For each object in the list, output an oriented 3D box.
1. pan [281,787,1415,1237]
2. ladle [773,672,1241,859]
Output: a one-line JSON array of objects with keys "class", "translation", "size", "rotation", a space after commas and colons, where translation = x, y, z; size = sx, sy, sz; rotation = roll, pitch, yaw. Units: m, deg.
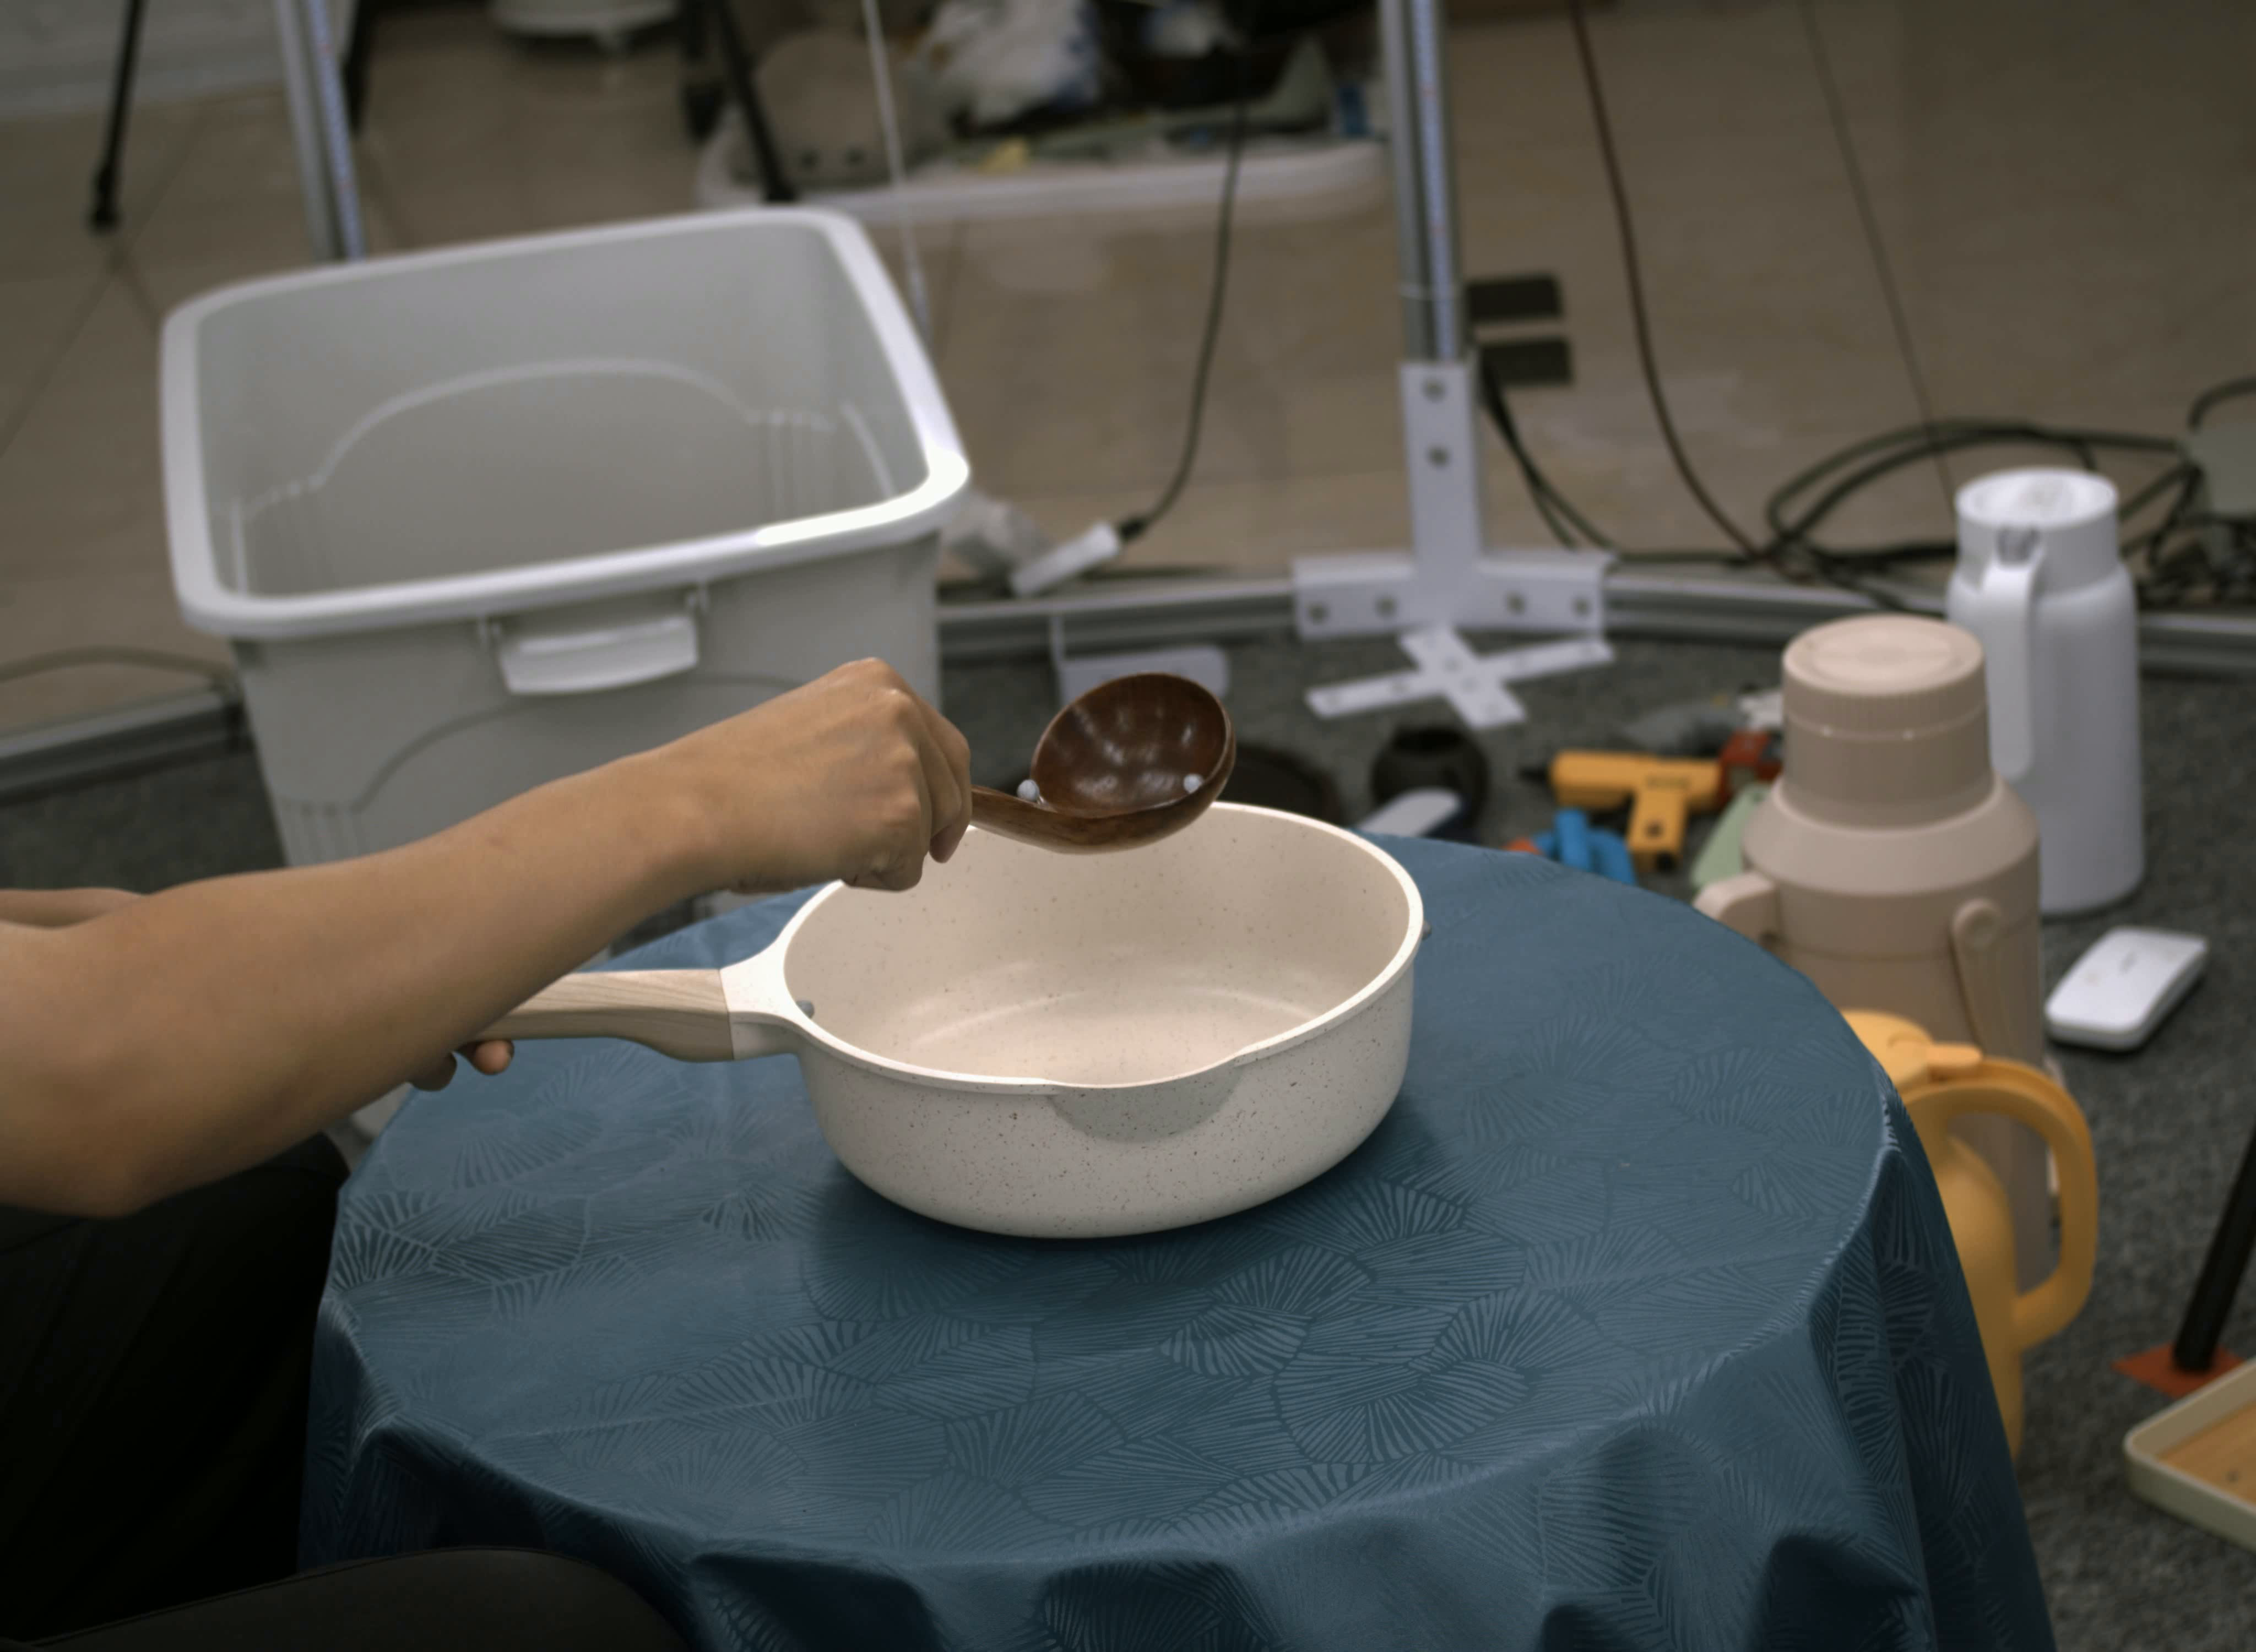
[{"class": "pan", "translation": [-0.102, 0.083, 2.178], "size": [0.434, 0.103, 0.259], "rotation": [-9, 27, -6]}, {"class": "ladle", "translation": [-0.045, -0.032, 2.067], "size": [0.082, 0.076, 0.275], "rotation": [0, -5, 28]}]
